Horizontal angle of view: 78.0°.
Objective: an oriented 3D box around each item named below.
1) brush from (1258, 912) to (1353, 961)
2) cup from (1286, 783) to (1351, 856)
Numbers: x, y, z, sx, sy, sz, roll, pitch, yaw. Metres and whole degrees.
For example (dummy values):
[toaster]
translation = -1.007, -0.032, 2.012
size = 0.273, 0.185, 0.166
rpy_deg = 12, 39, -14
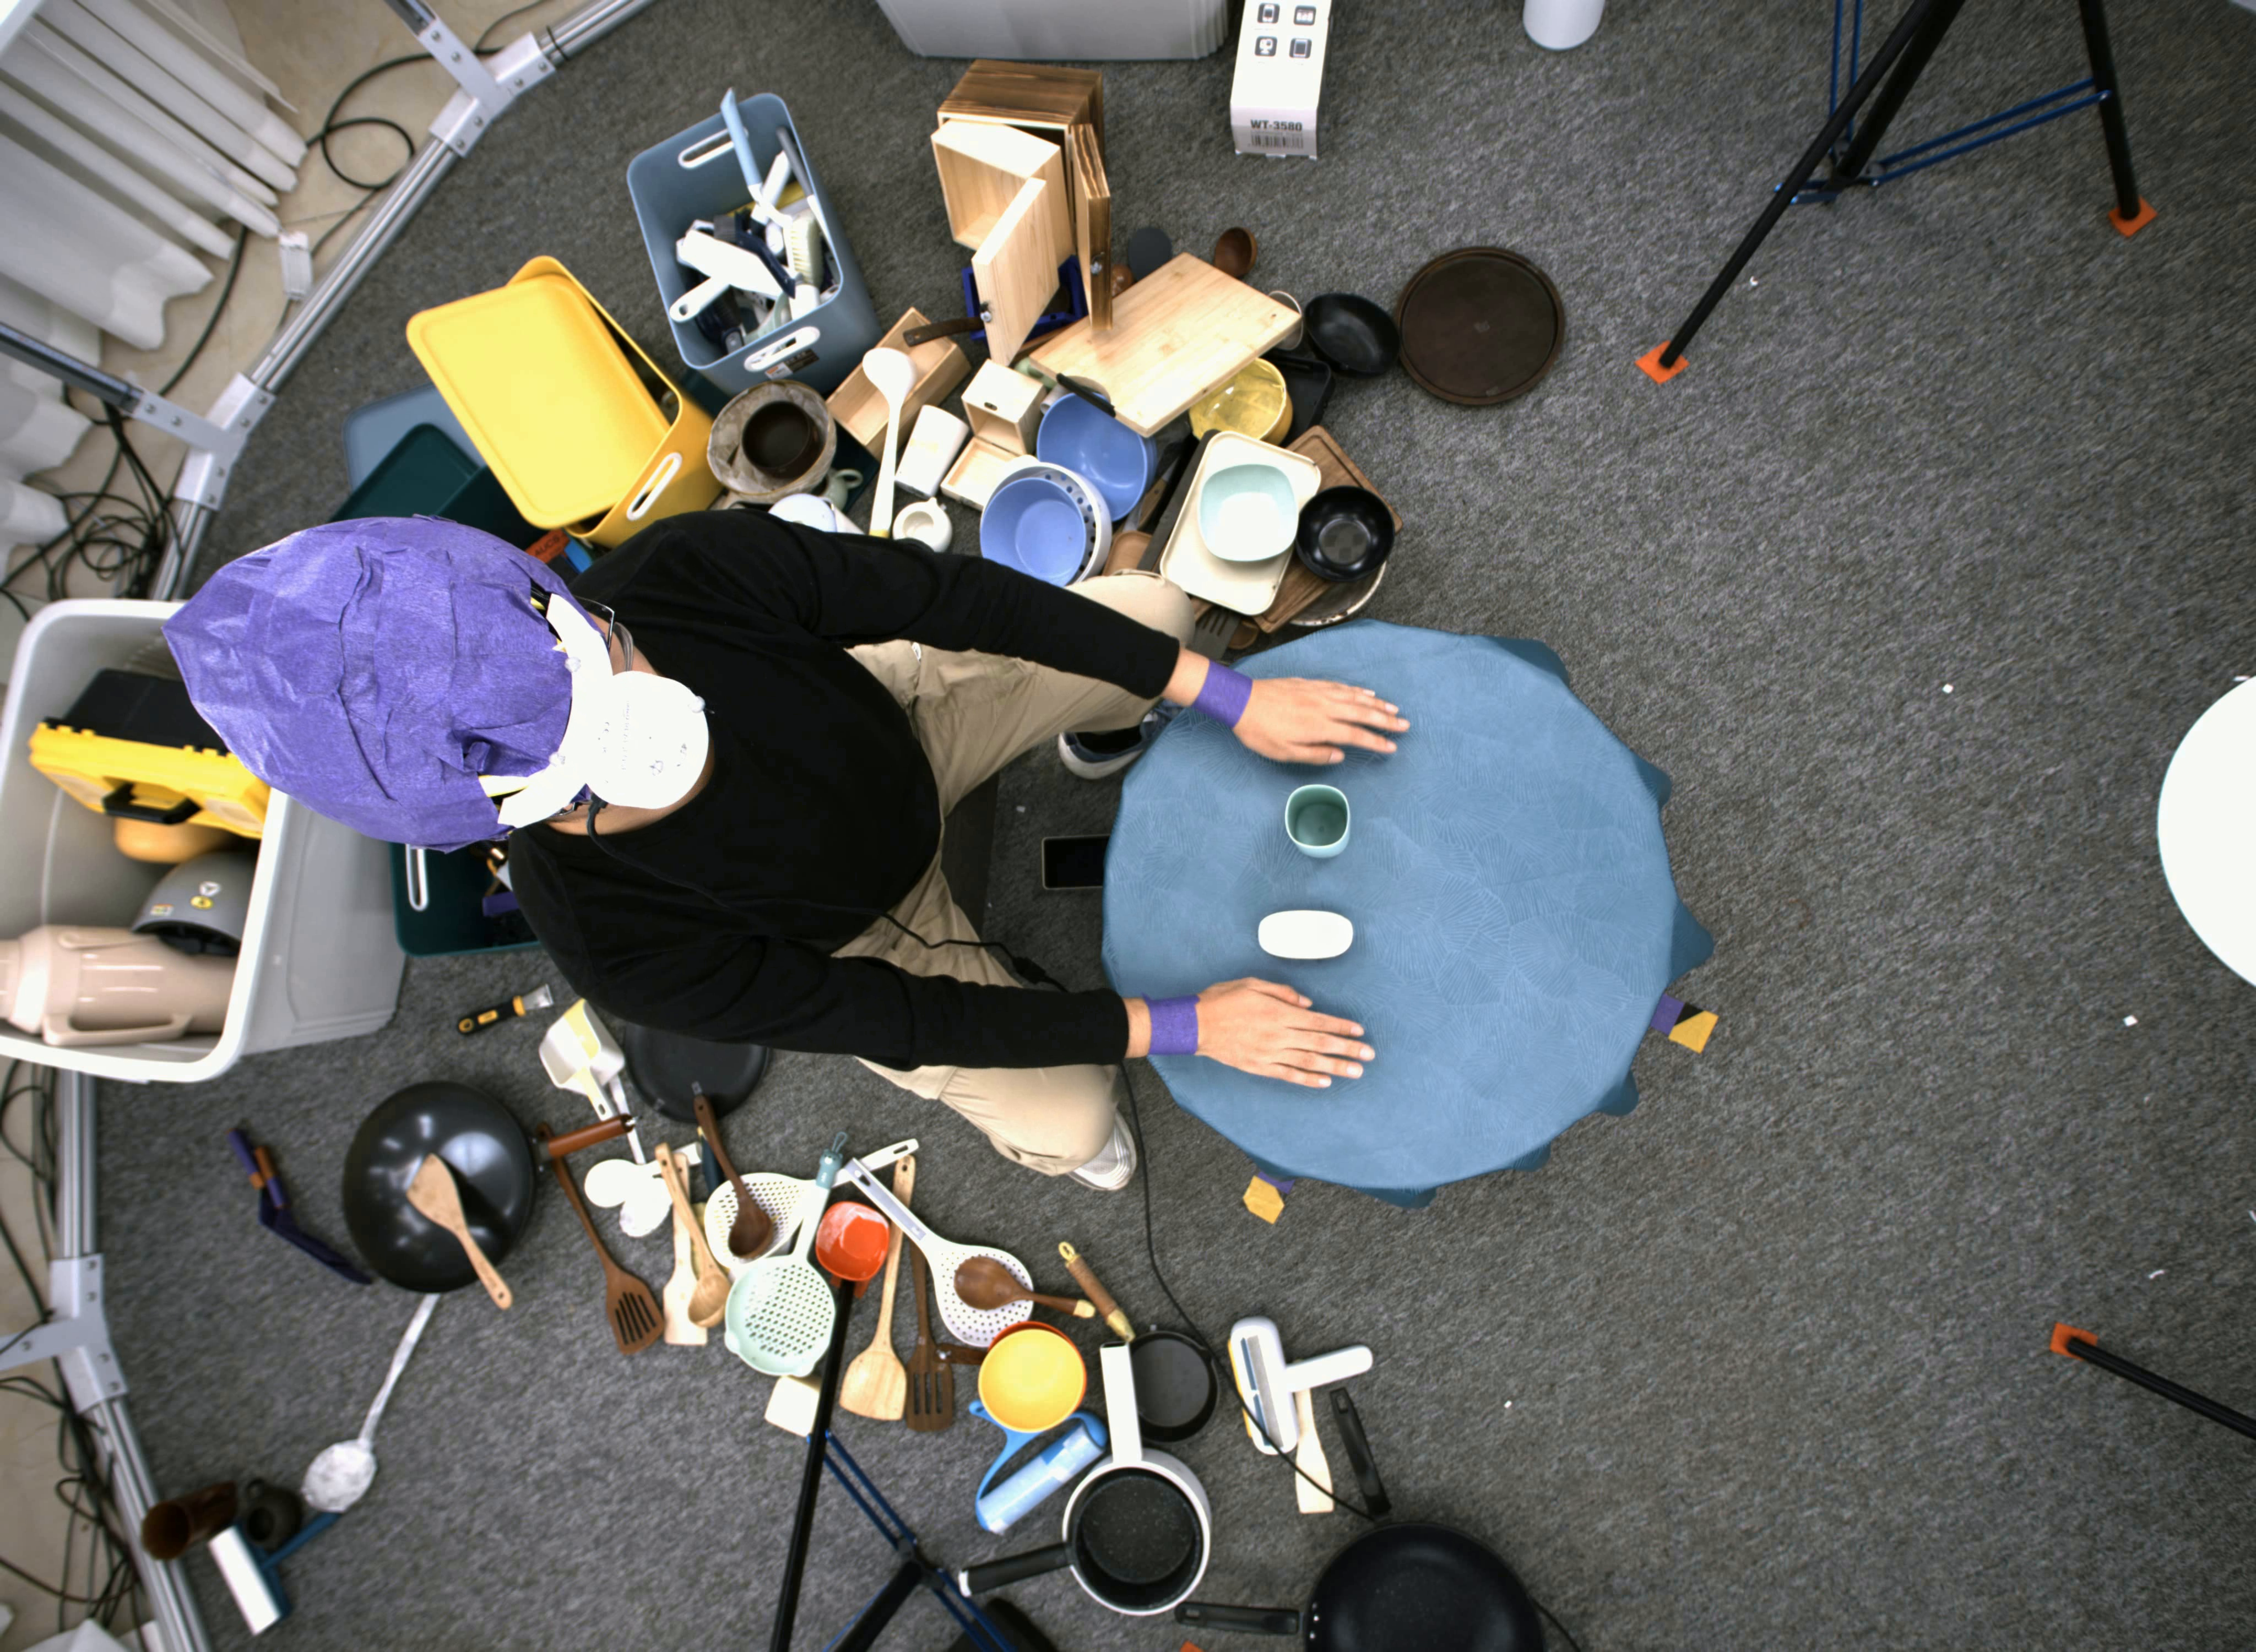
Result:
[brush]
translation = 0.183, 0.113, 1.435
size = 0.099, 0.072, 0.050
rpy_deg = 2, 84, 9
[cup]
translation = 0.196, -0.004, 1.414
size = 0.067, 0.132, 0.066
rpy_deg = -1, 85, 9
